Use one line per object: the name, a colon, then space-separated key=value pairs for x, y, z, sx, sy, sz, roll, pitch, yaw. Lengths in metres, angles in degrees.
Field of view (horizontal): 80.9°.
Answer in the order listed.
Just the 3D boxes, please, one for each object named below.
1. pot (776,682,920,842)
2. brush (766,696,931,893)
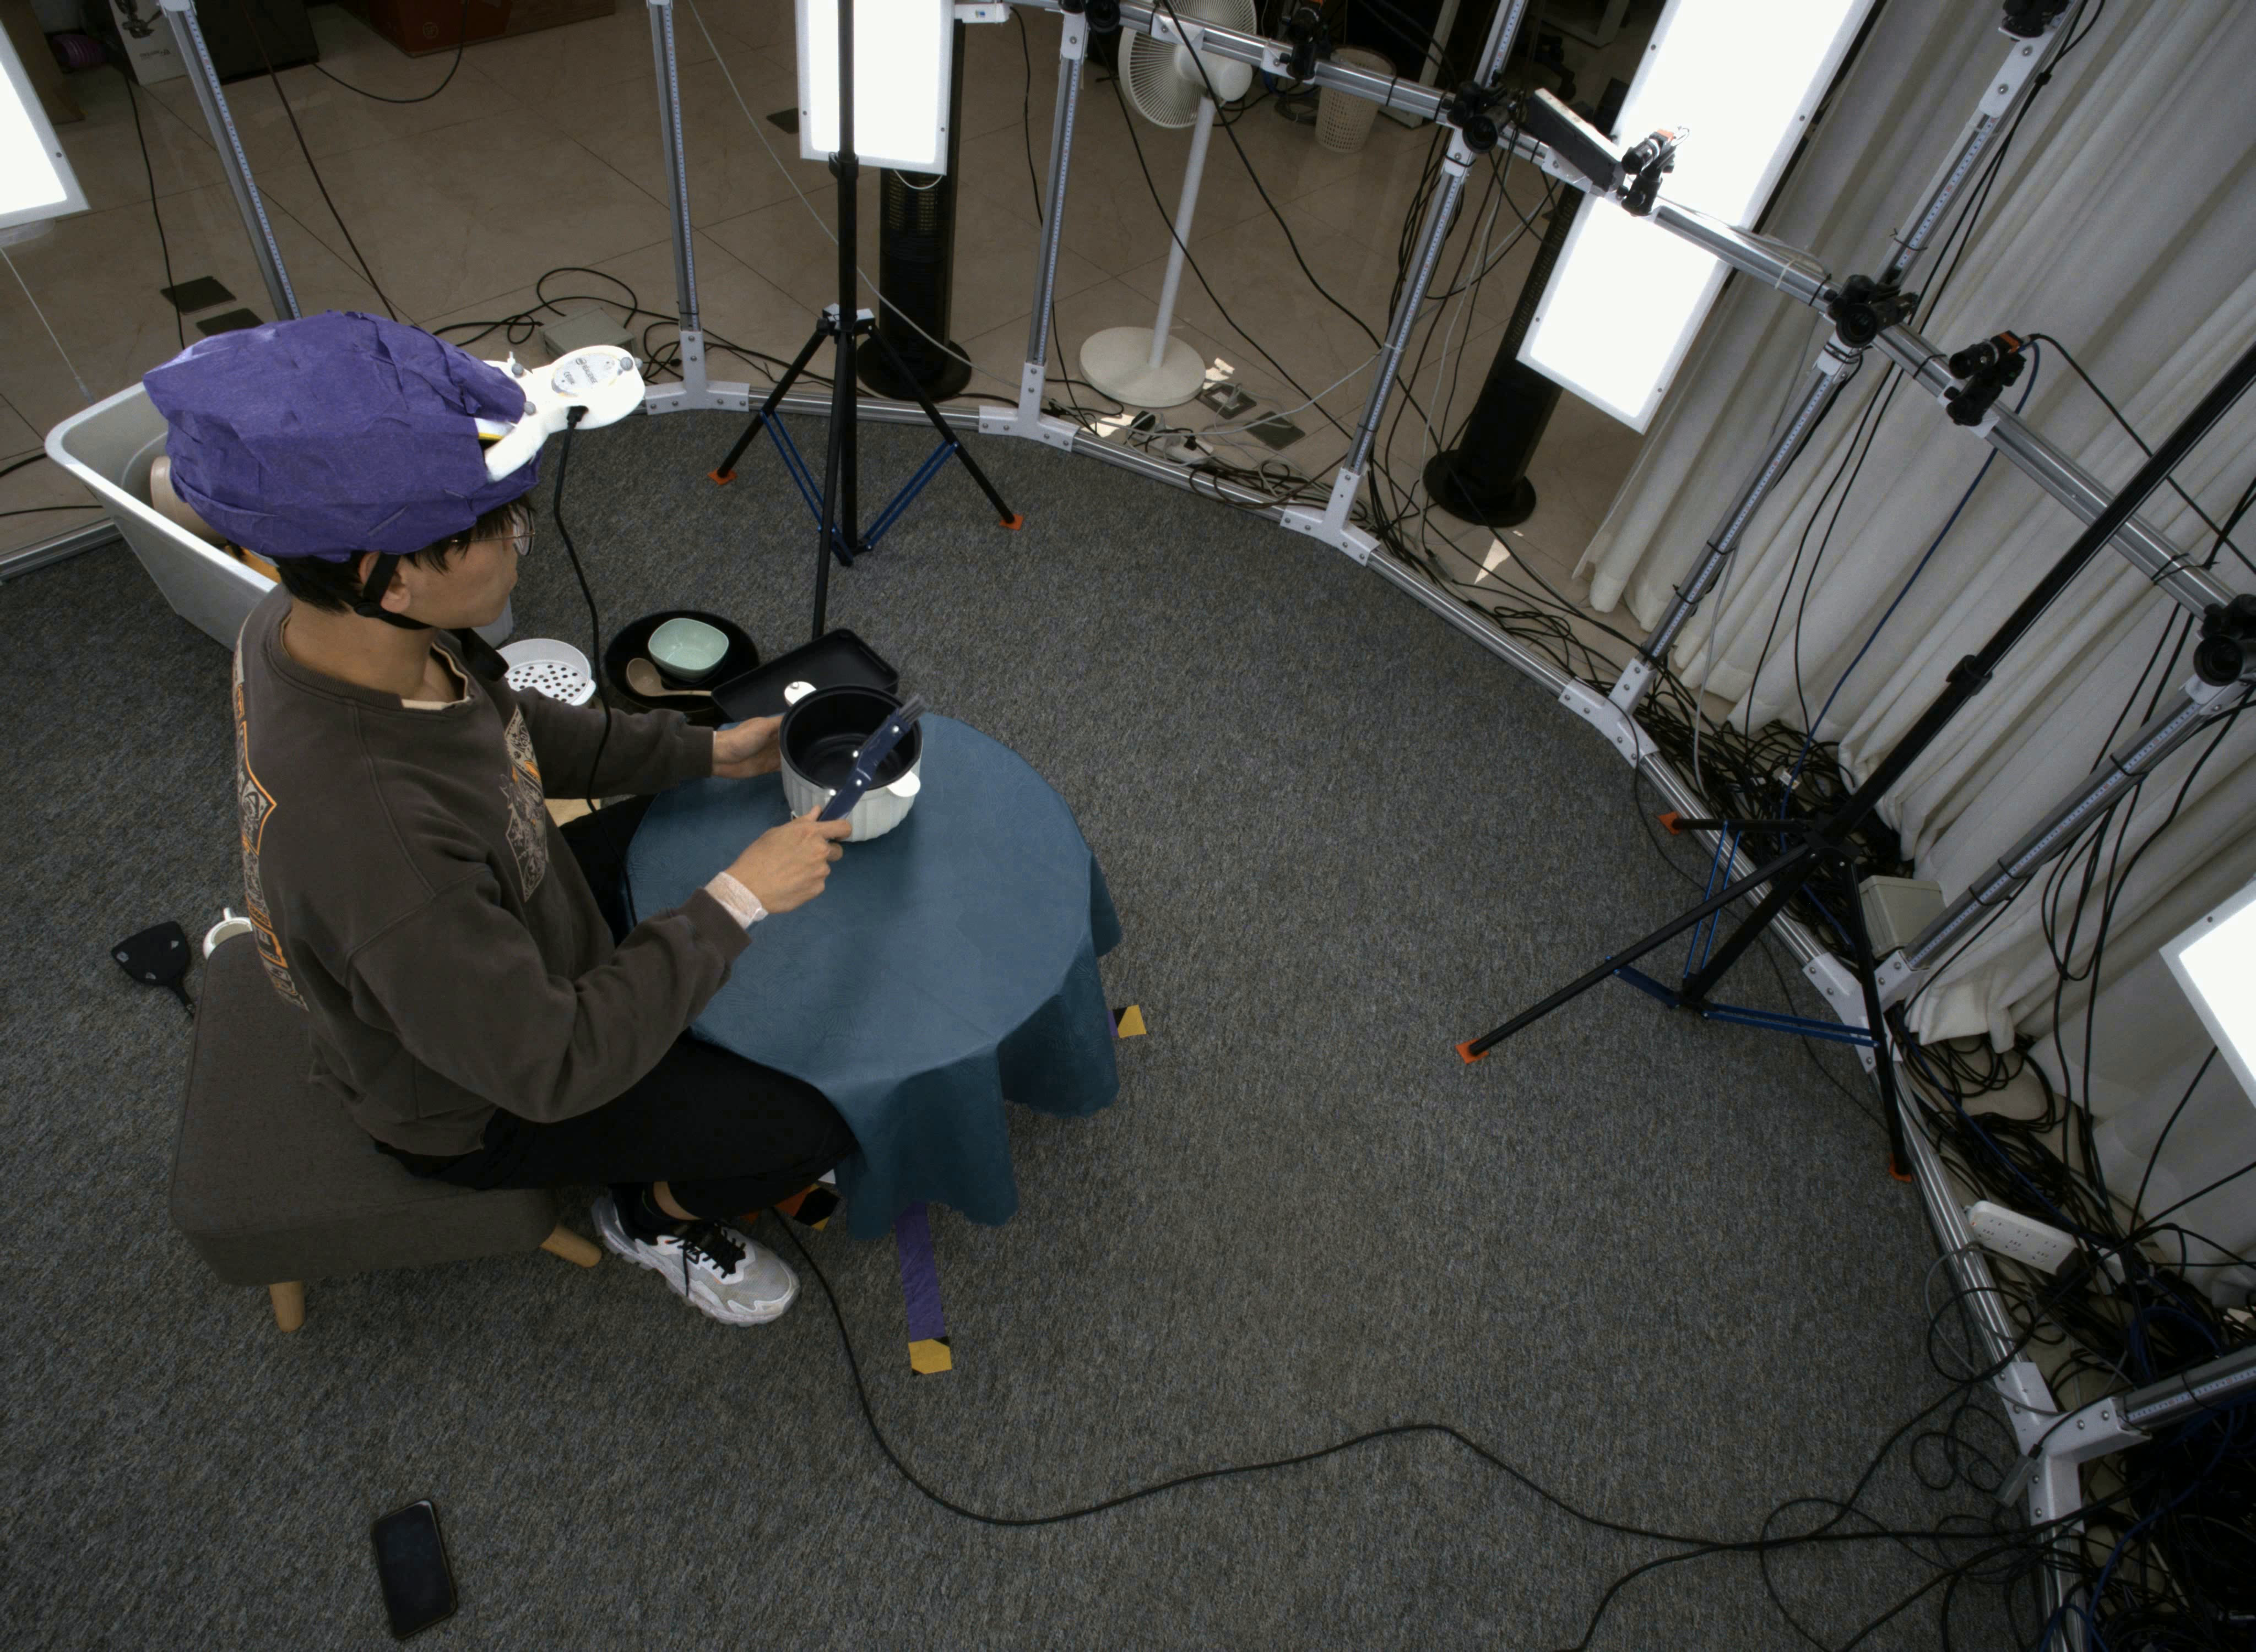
pot: x=-0.364 y=-0.081 z=1.722 sx=0.235 sy=0.145 sz=0.190 roll=40 pitch=60 yaw=15
brush: x=-0.314 y=-0.042 z=1.462 sx=0.034 sy=0.093 sz=0.271 roll=48 pitch=46 yaw=-27
